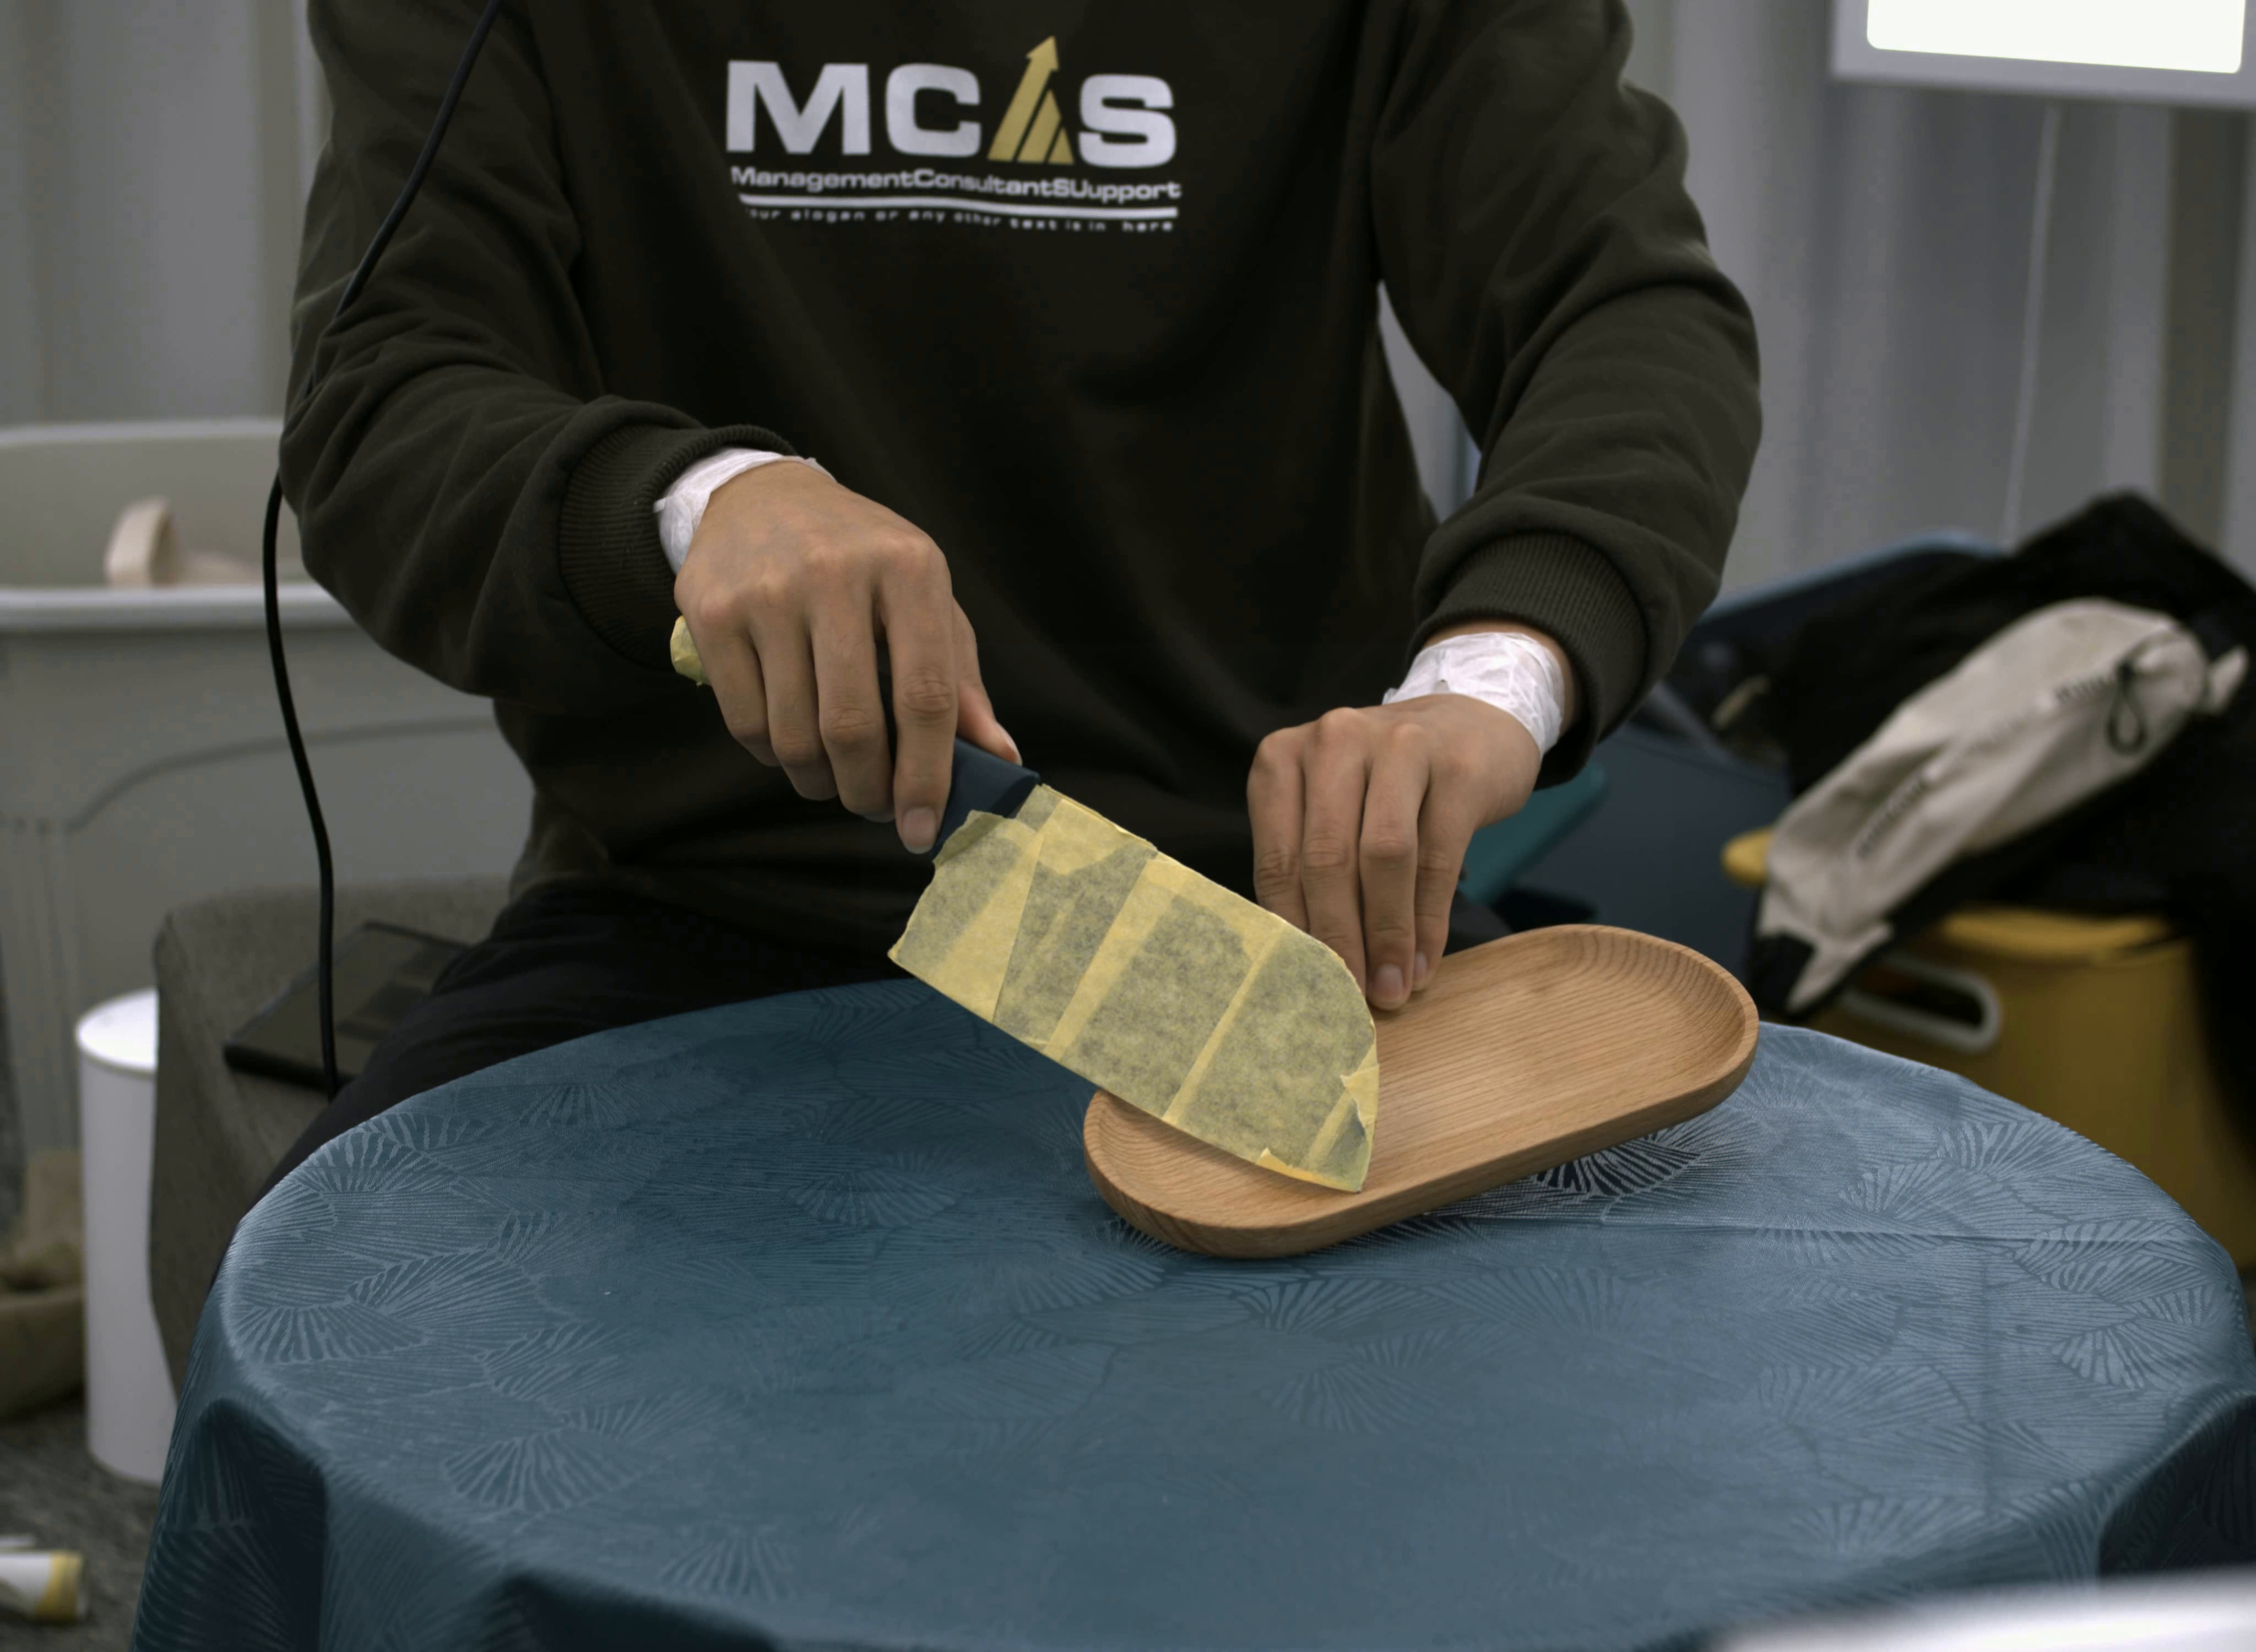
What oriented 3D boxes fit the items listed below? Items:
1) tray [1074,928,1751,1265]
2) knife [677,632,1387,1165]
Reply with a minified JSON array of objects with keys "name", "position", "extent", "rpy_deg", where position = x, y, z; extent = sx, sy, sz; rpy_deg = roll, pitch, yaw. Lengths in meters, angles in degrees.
[{"name":"tray","position":[0.090,0.083,1.631],"extent":[0.232,0.020,0.100],"rpy_deg":[-18,36,-26]},{"name":"knife","position":[-0.036,0.021,1.636],"extent":[0.286,0.081,0.027],"rpy_deg":[32,-5,23]}]
